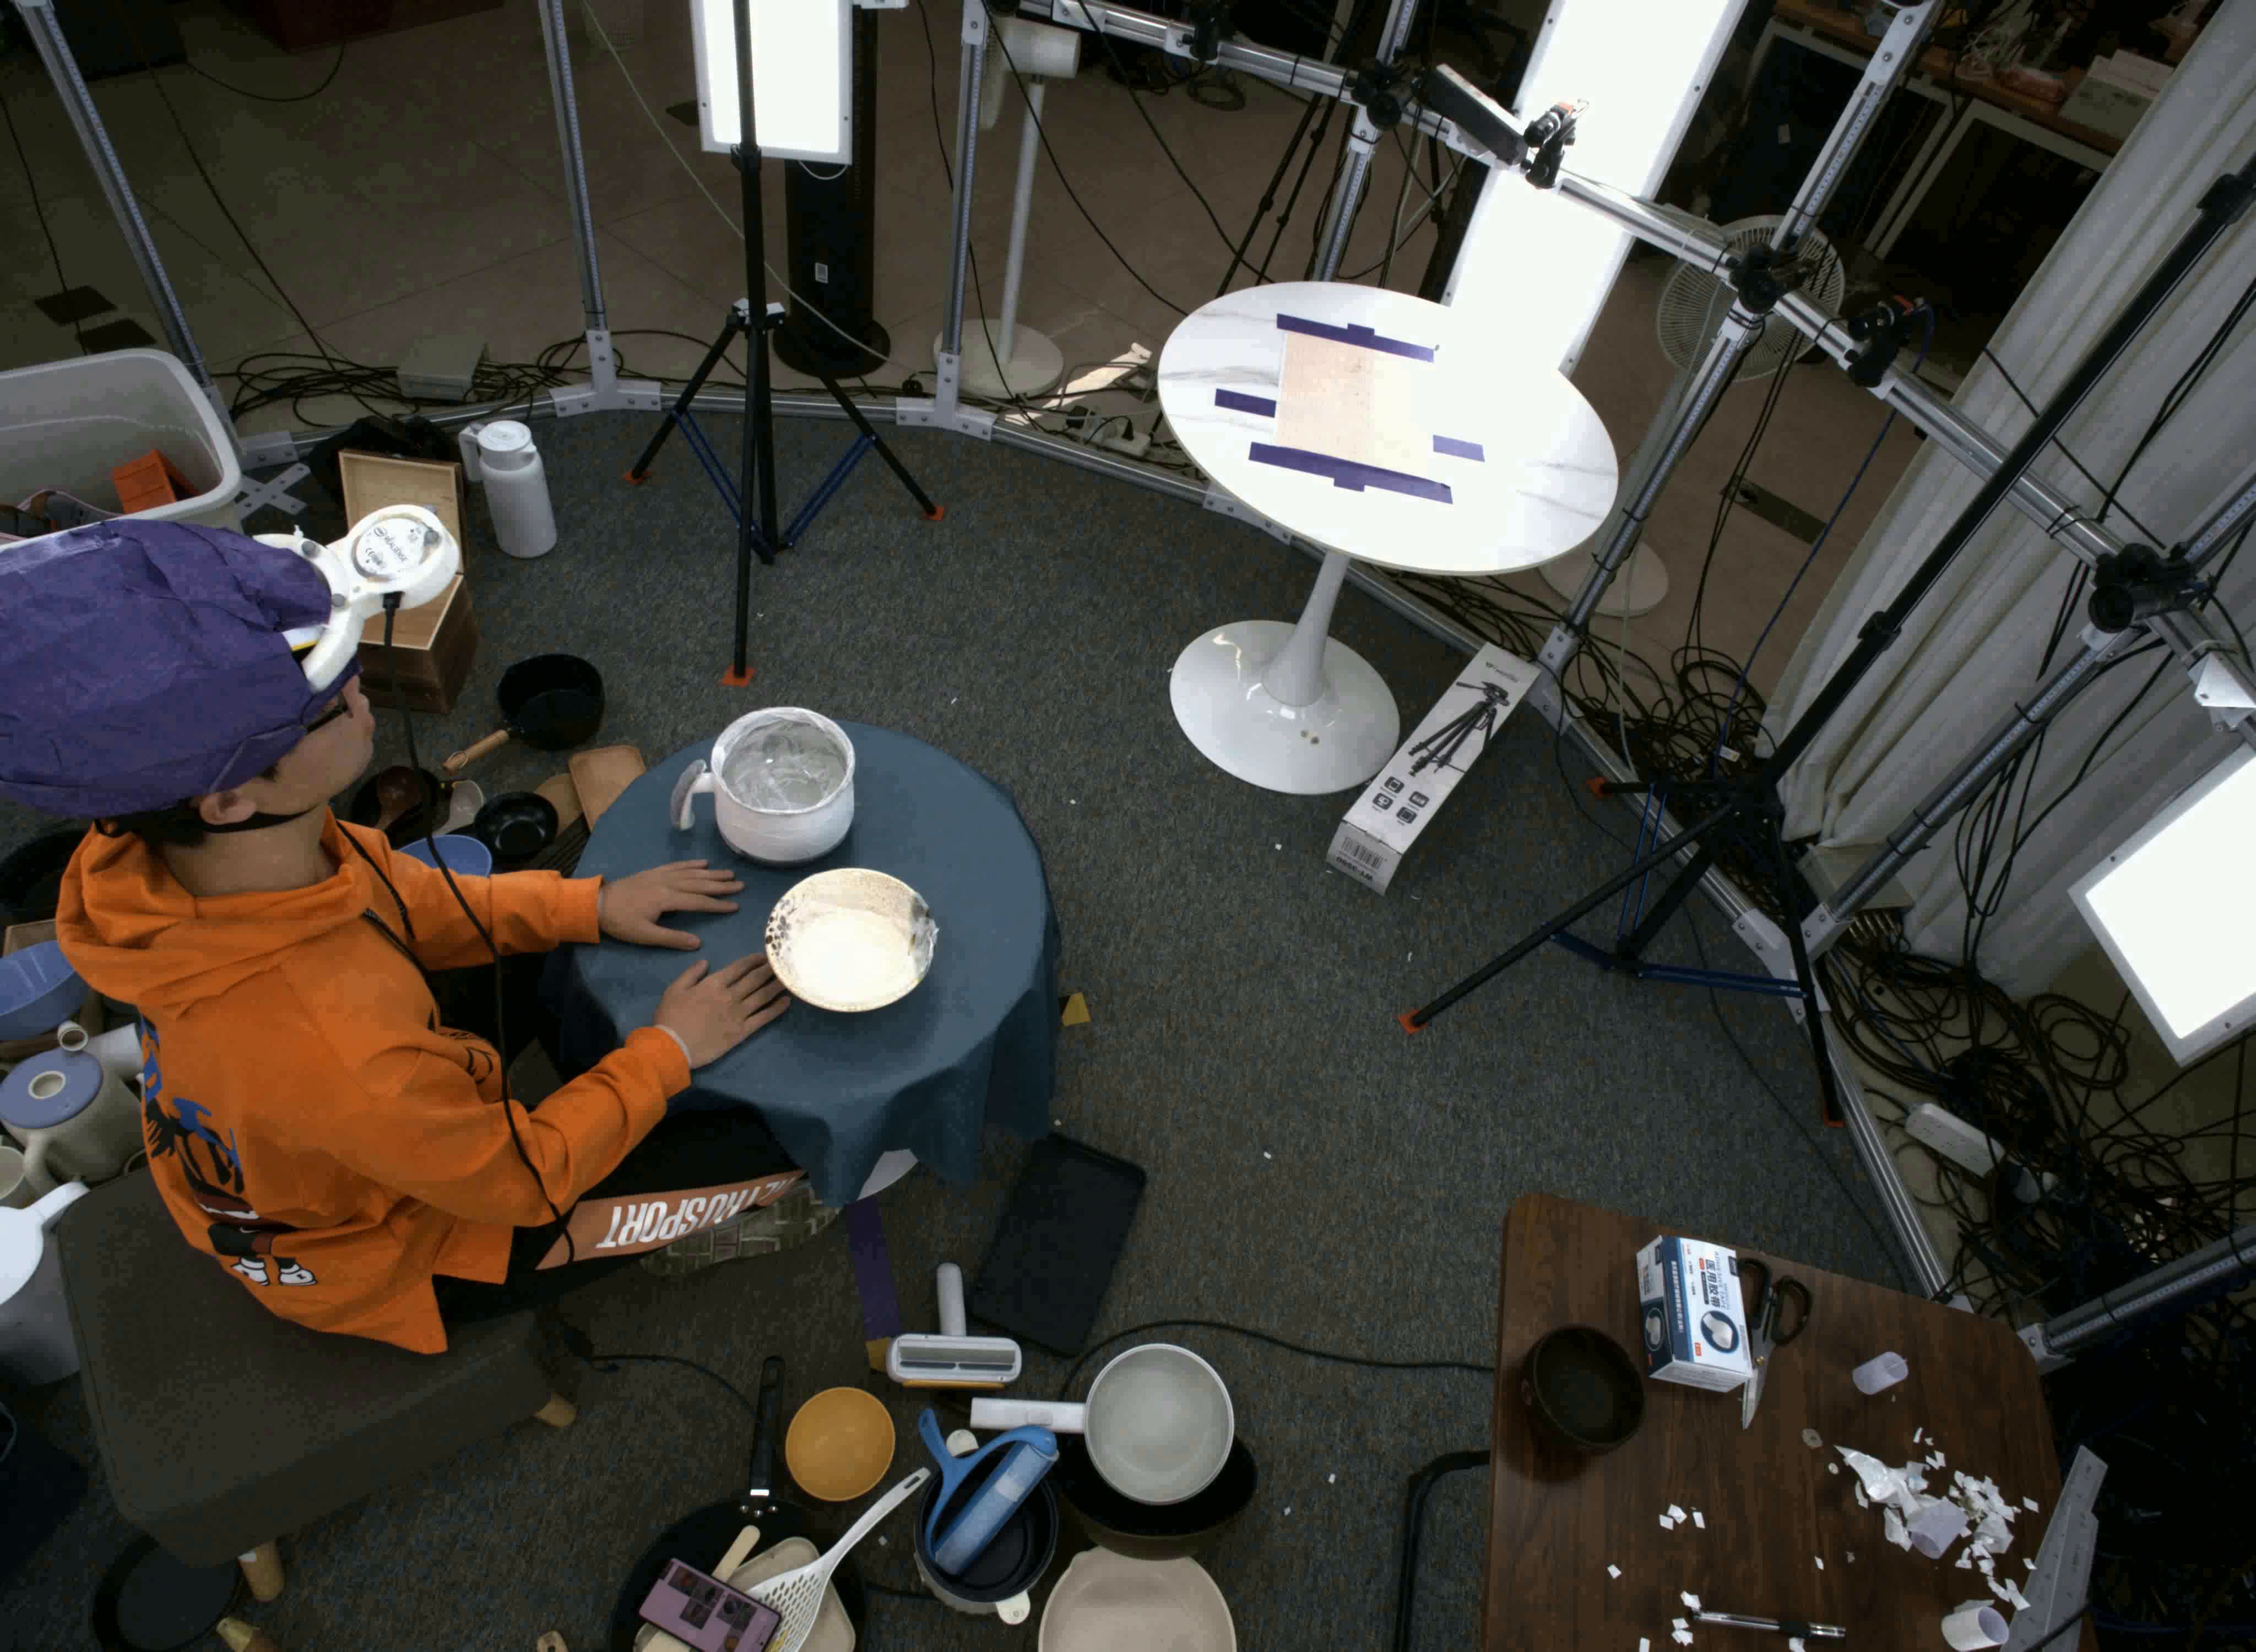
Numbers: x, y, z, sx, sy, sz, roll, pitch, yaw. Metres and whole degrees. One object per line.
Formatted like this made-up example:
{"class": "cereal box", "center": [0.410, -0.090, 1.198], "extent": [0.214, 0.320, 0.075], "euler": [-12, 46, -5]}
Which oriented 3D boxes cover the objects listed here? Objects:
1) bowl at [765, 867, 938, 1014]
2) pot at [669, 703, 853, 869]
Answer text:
{"class": "bowl", "center": [-0.333, 0.153, 1.576], "extent": [0.203, 0.079, 0.200], "euler": [7, 54, -8]}
{"class": "pot", "center": [-0.468, -0.044, 1.646], "extent": [0.235, 0.139, 0.174], "euler": [-7, 54, -19]}
